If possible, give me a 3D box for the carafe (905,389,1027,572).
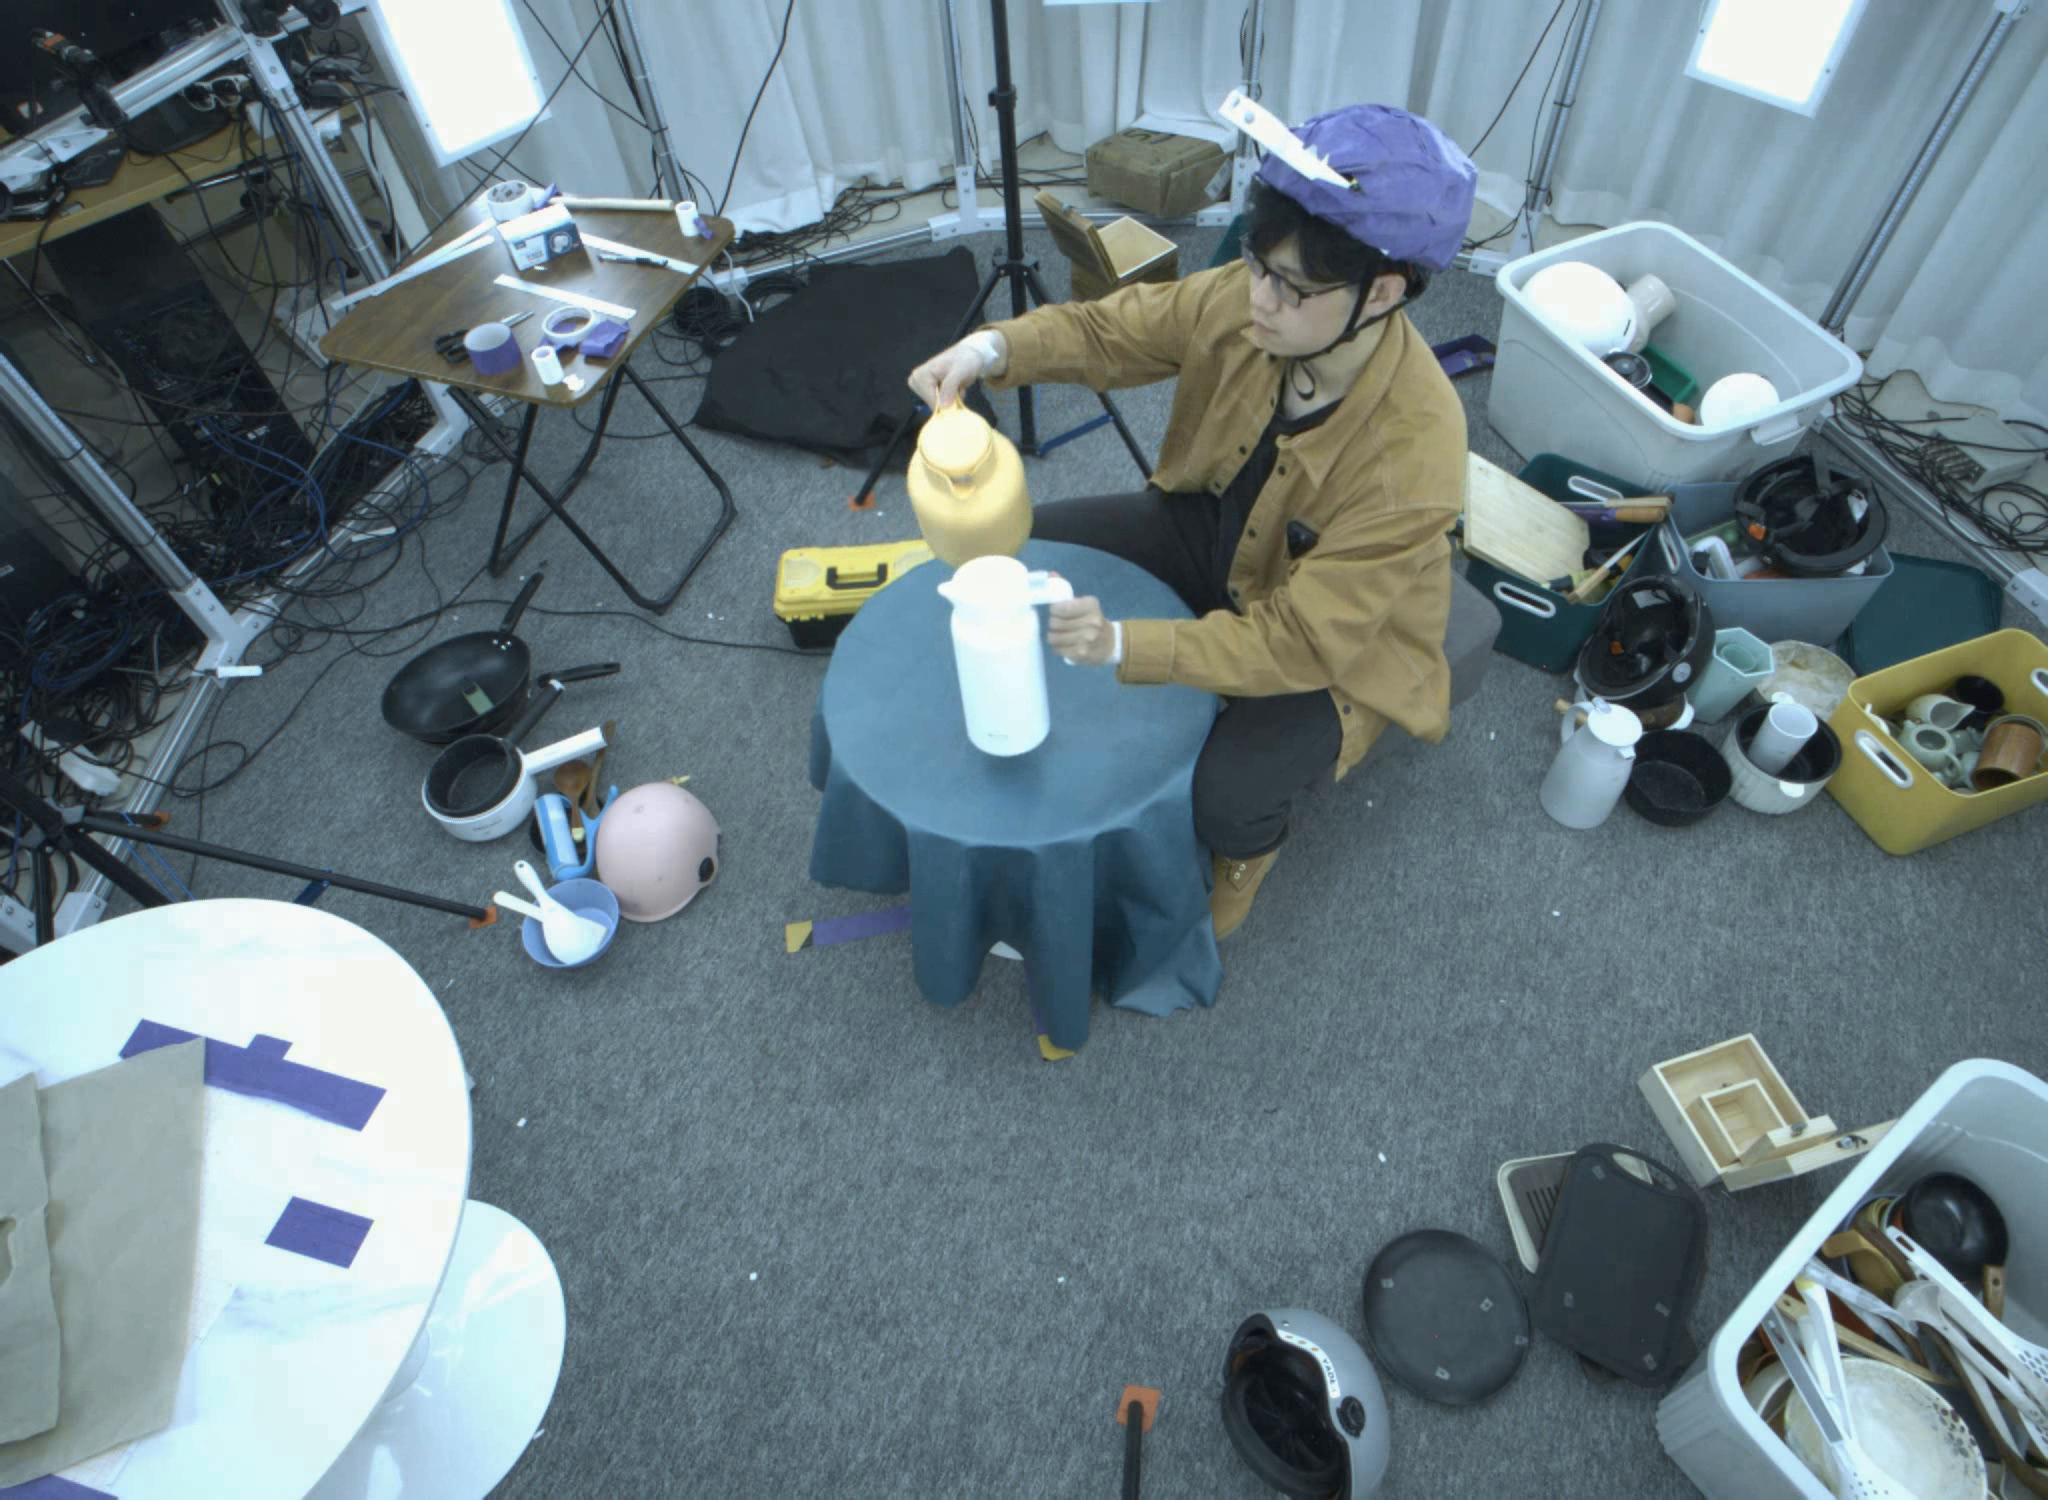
[{"bbox_3d":[-0.083,-0.377,1.667,0.164,0.262,0.201,-7,74,-1],"label":"carafe"}]

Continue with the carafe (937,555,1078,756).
[{"bbox_3d":[-0.015,-0.124,1.635,0.173,0.272,0.122,-5,43,1],"label":"carafe"}]
